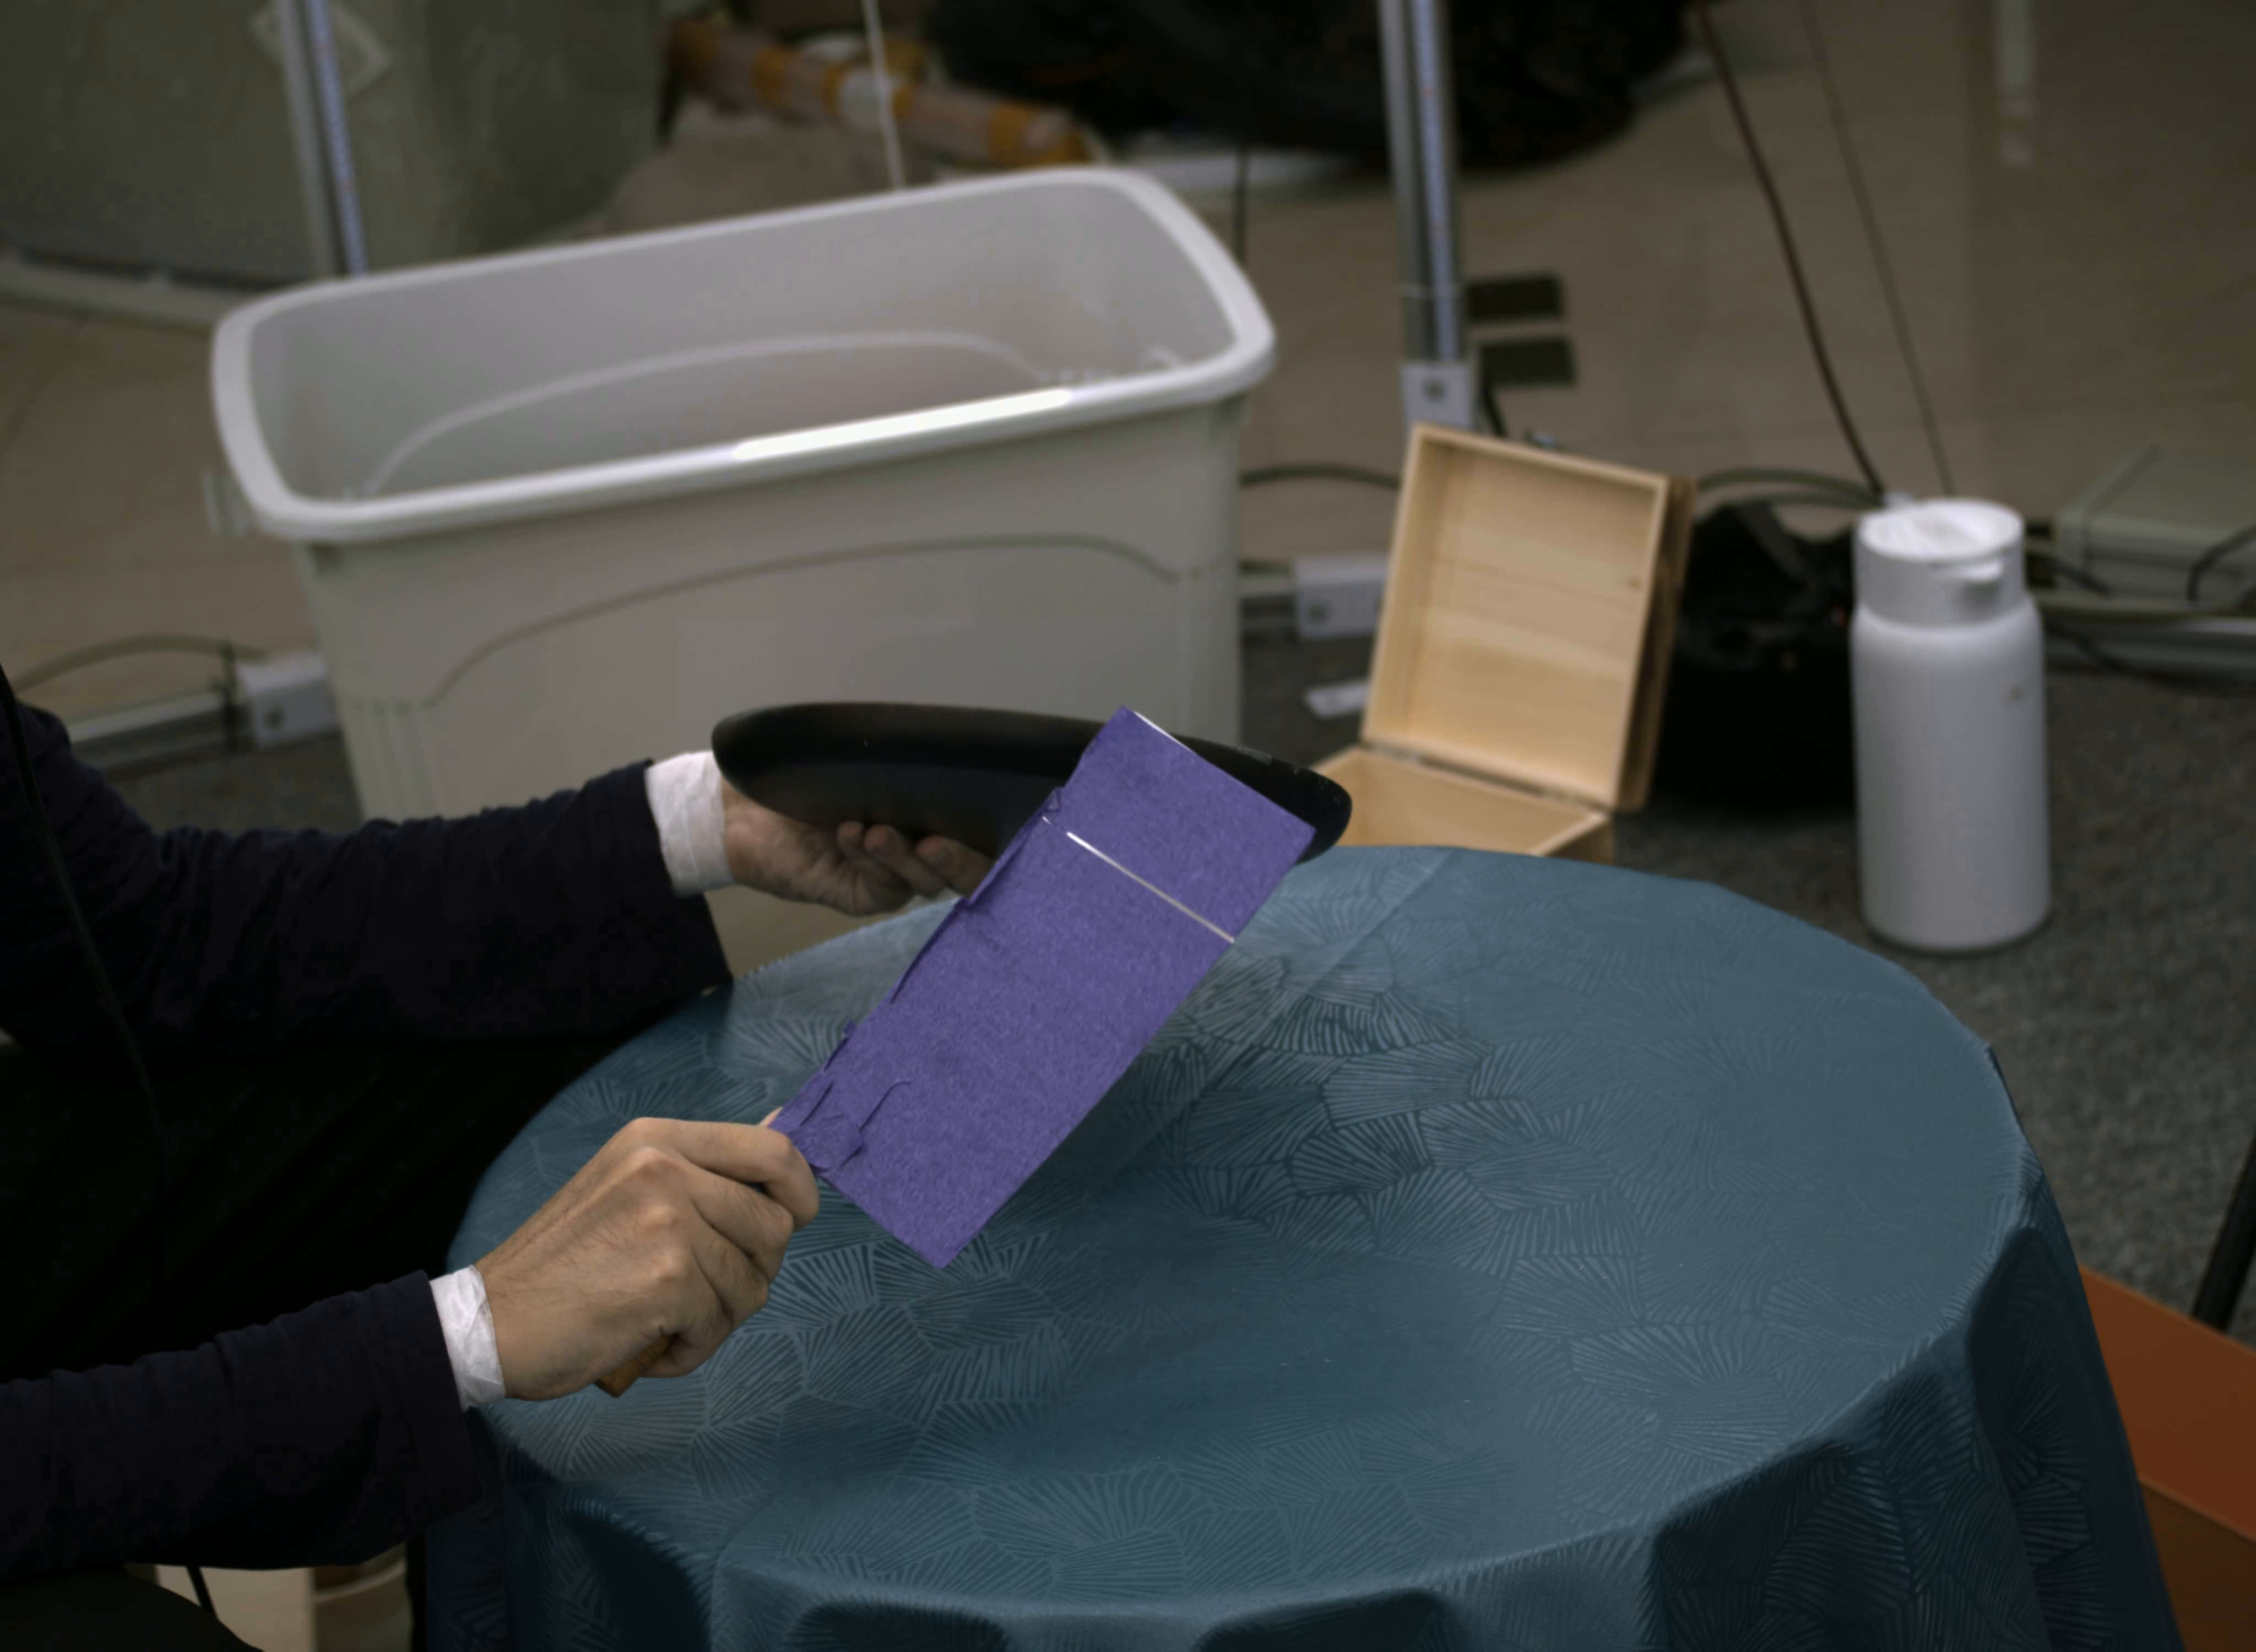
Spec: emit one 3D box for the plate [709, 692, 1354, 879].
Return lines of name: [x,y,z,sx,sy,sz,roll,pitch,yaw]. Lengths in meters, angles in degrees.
plate: [-0.039,-0.014,2.209,0.254,0.029,0.256,7,-9,1]

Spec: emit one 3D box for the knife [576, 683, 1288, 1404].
knife: [-0.066,0.089,2.002,0.103,0.032,0.314,34,80,26]
